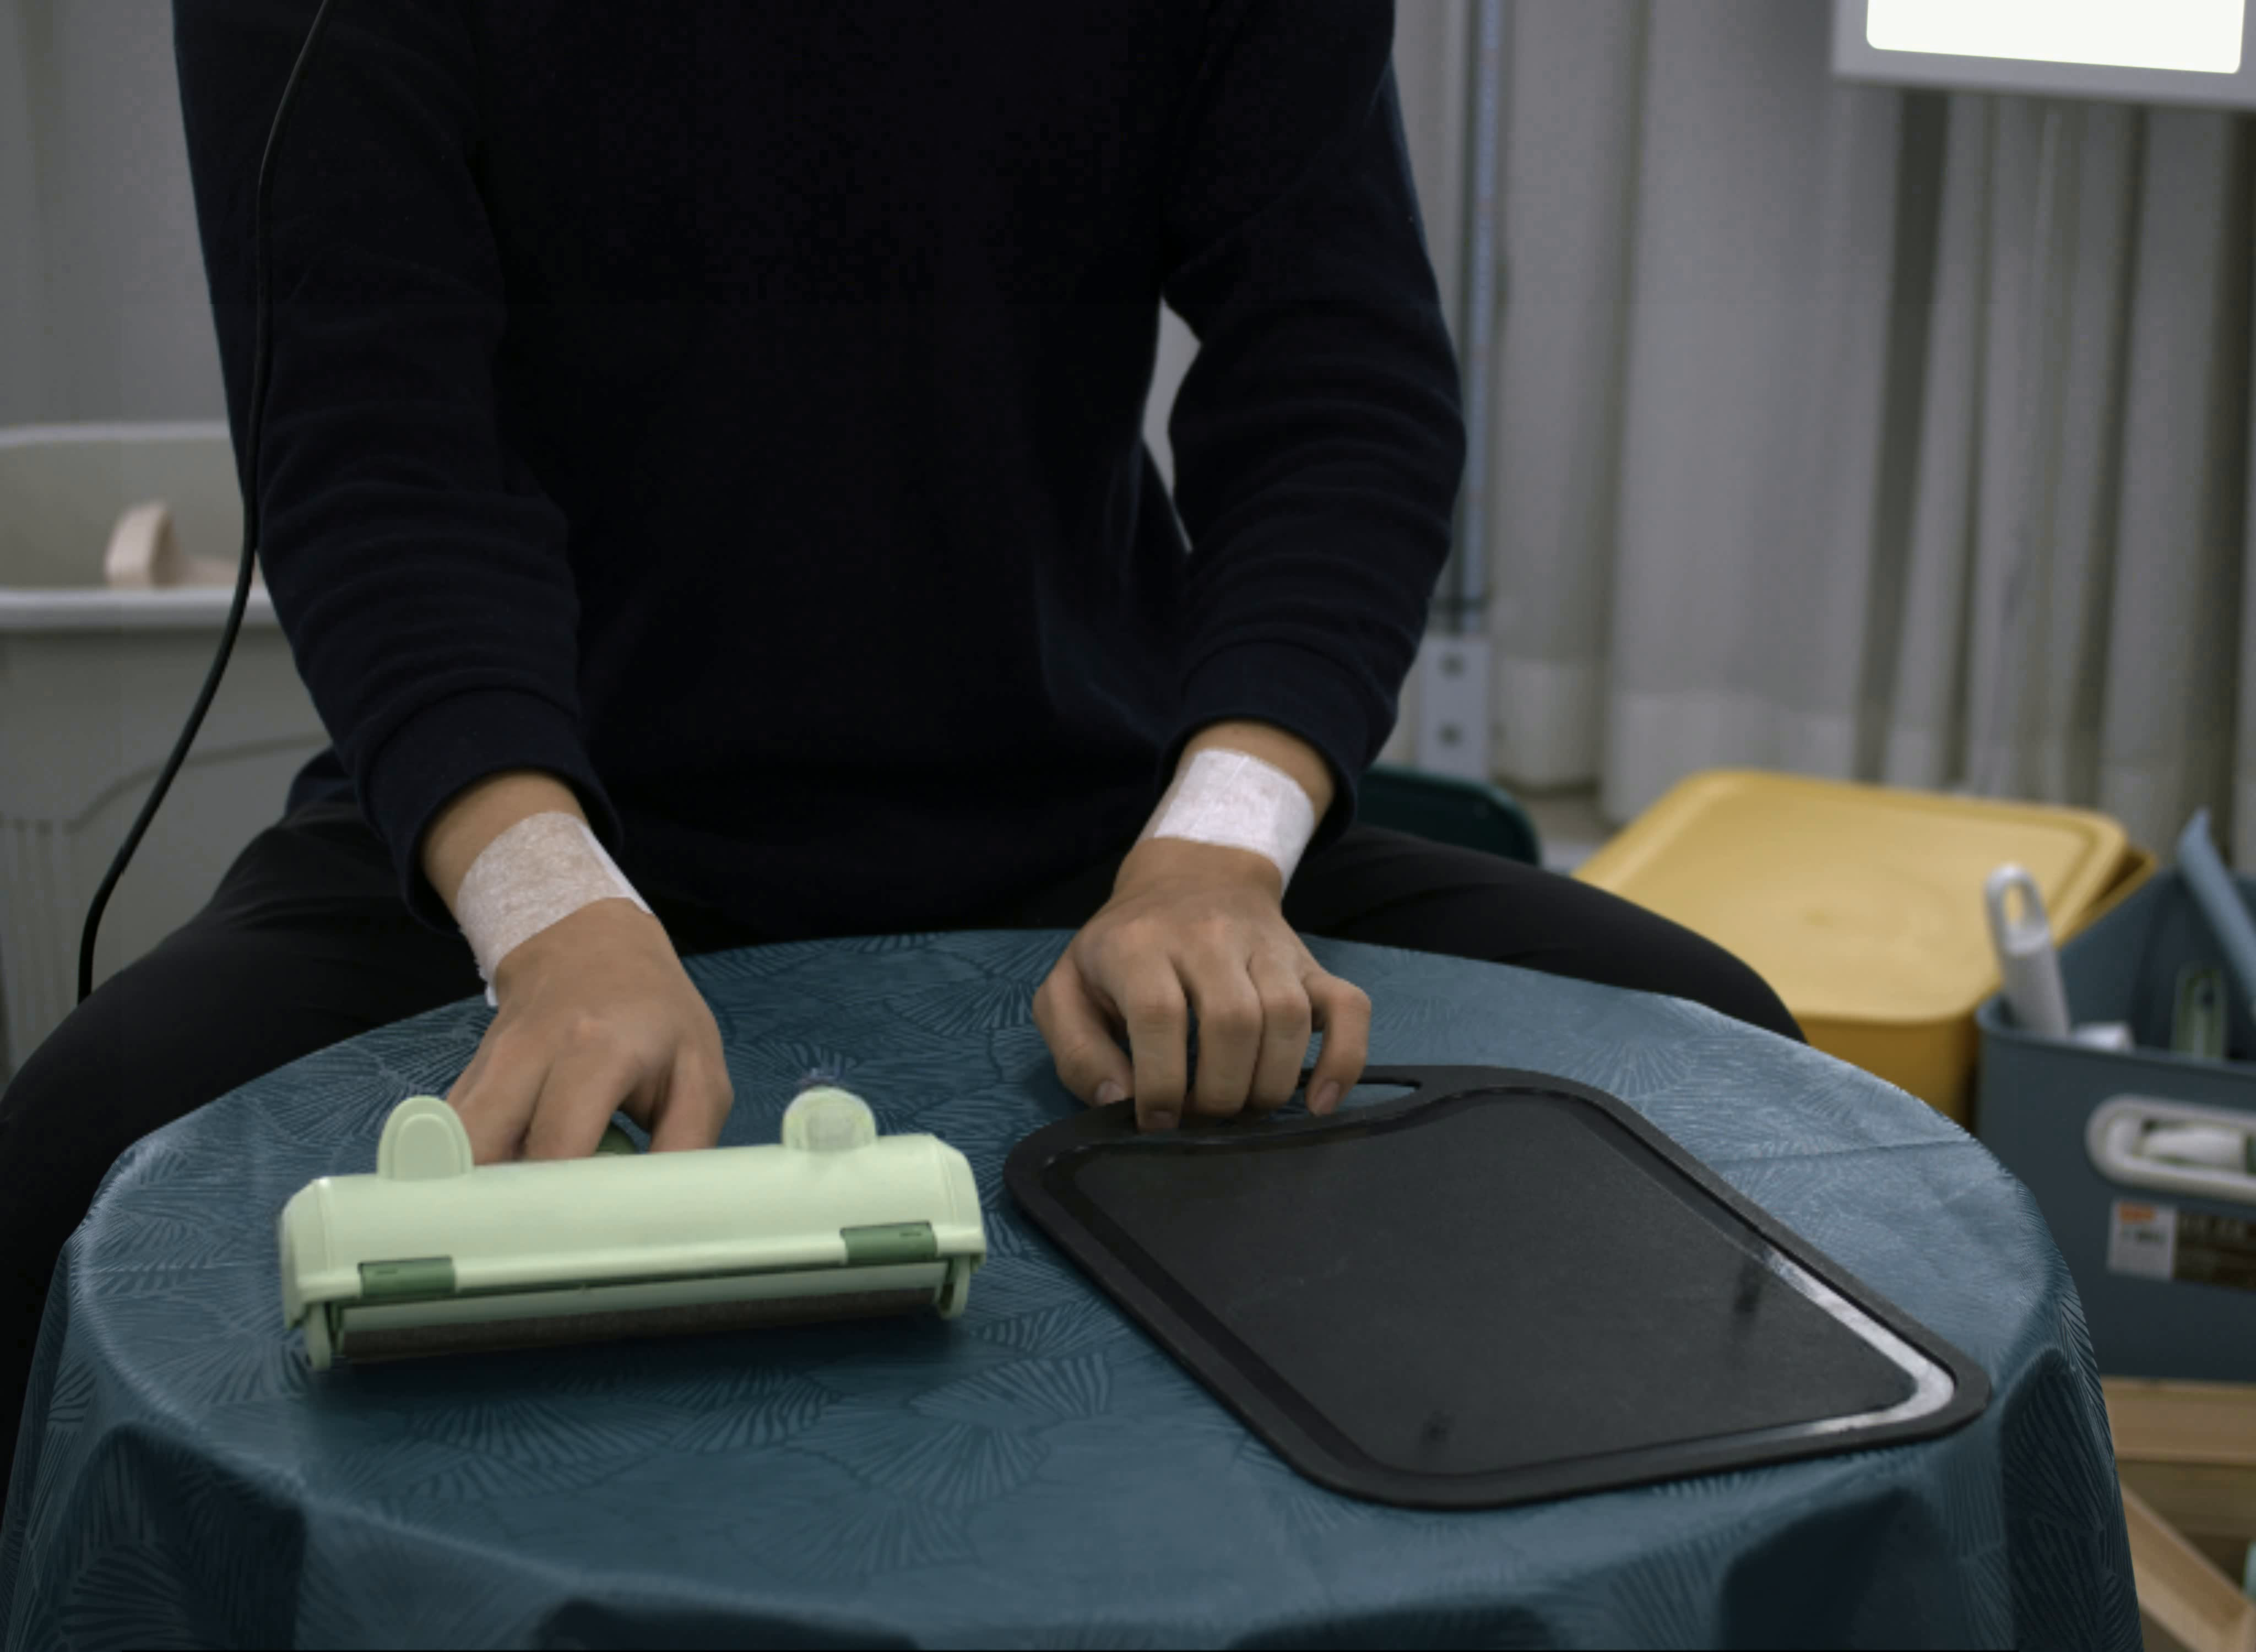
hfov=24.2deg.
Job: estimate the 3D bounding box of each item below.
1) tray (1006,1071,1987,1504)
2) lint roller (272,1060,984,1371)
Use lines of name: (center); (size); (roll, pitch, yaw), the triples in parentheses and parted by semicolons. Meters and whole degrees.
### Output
tray: (0.097, 0.127, 1.549); (0.212, 0.010, 0.321); (-5, 18, -21)
lint roller: (-0.155, 0.092, 1.532); (0.199, 0.083, 0.181); (-3, 22, -15)
